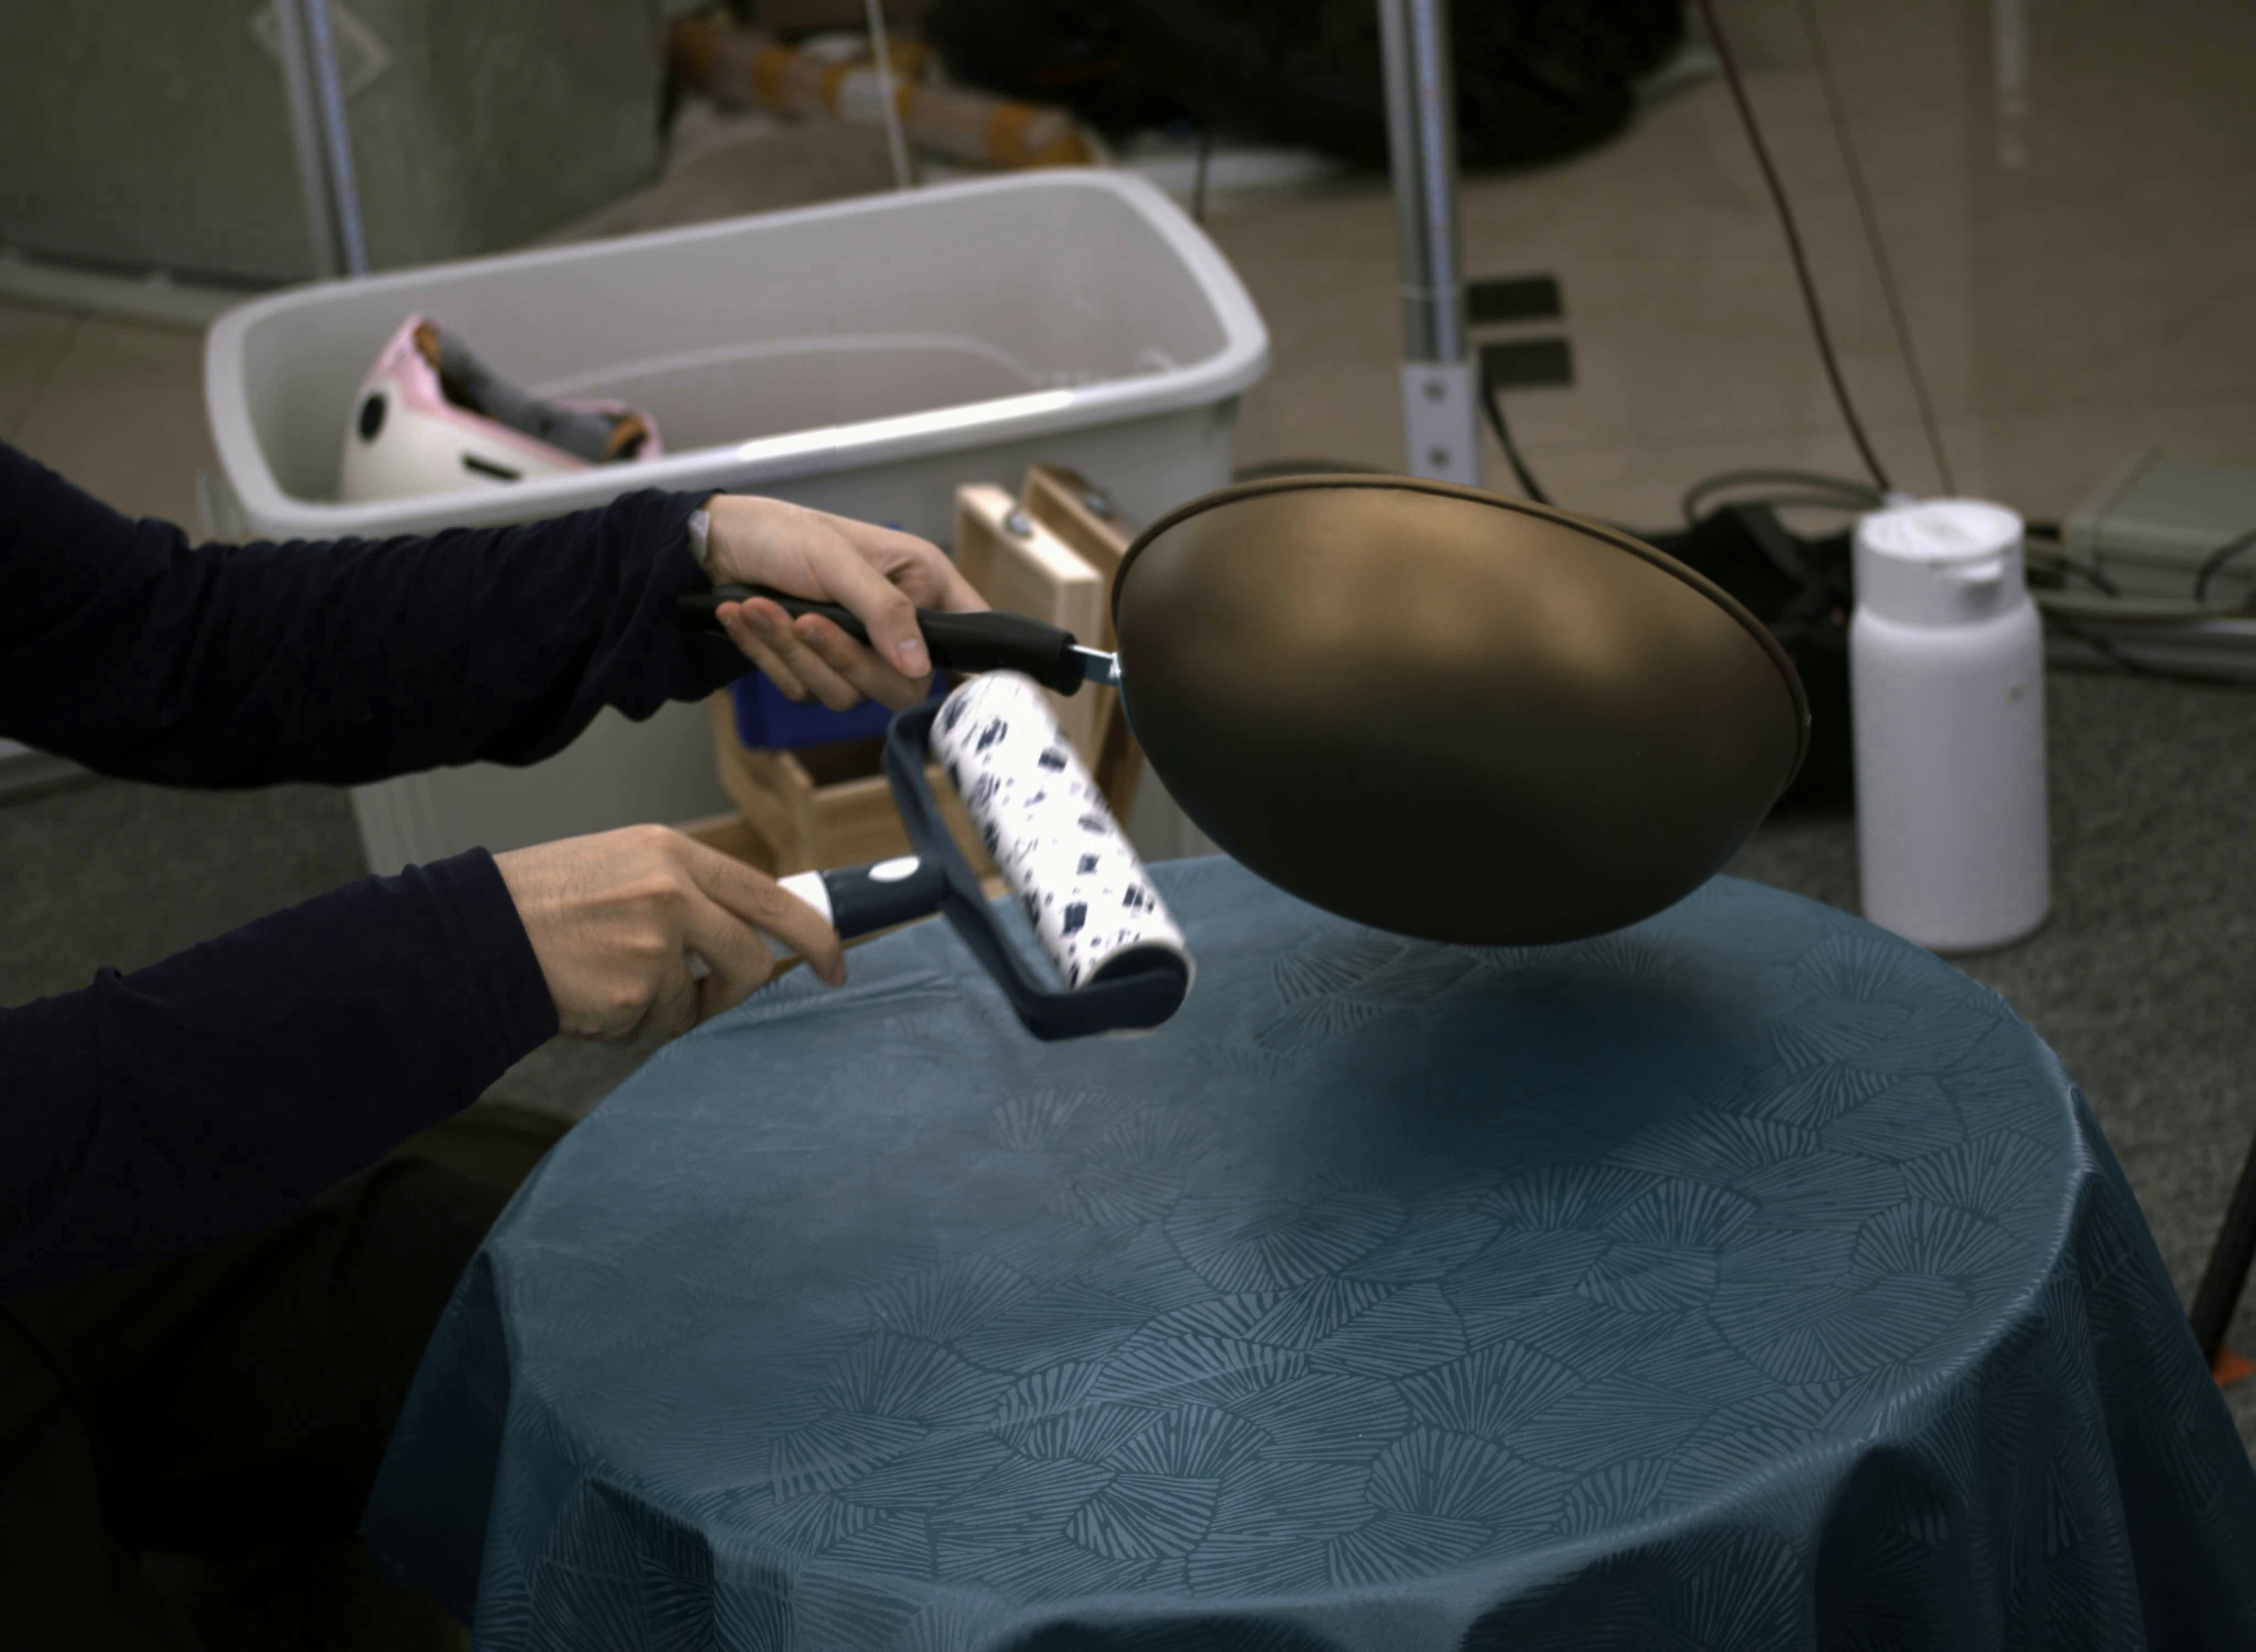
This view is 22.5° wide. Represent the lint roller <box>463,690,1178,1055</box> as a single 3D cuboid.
[{"bbox_3d":[-0.123,0.036,2.072,0.246,0.051,0.173,-13,44,-19],"label":"lint roller"}]

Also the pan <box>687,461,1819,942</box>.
[{"bbox_3d":[0.034,-0.038,2.208,0.462,0.293,0.086,5,62,17],"label":"pan"}]
